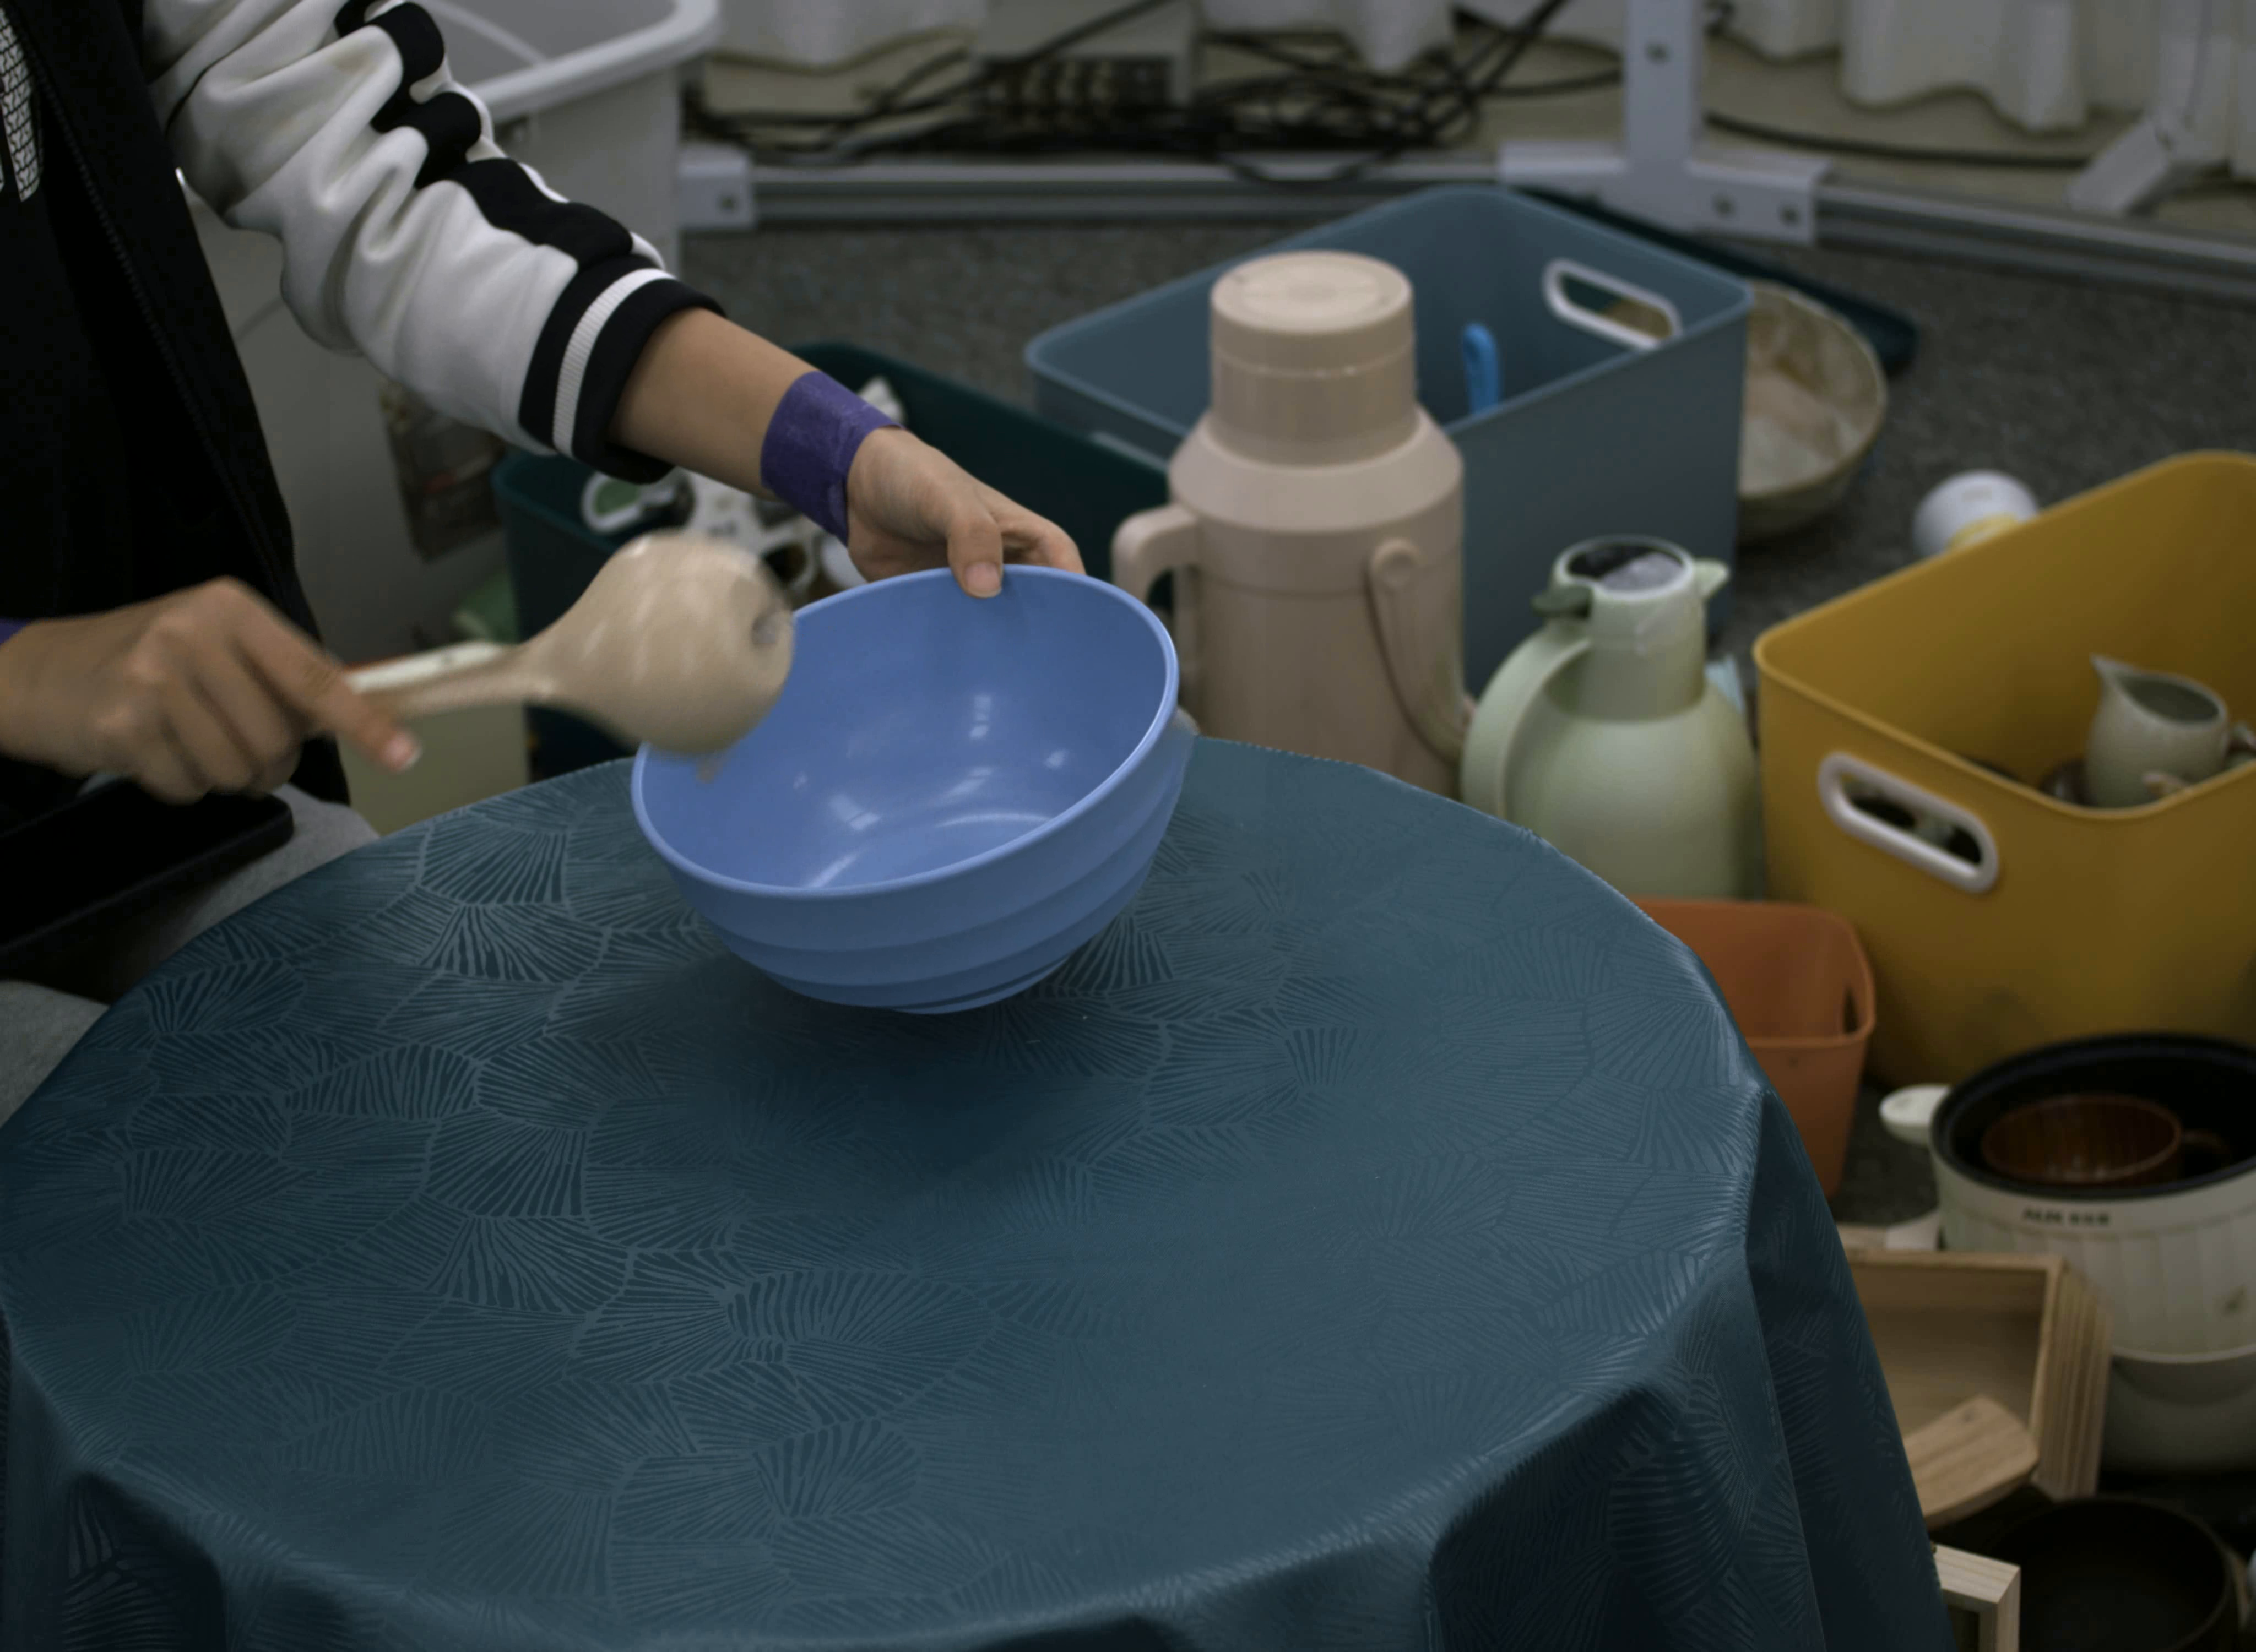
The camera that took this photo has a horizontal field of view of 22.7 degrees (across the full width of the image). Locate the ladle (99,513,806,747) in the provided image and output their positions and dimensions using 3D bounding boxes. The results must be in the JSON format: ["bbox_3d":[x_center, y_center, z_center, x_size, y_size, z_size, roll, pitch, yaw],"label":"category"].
[{"bbox_3d":[-0.219,-0.052,1.848,0.251,0.072,0.073,-8,-1,31],"label":"ladle"}]

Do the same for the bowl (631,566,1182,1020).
[{"bbox_3d":[-0.067,0.003,1.967,0.195,0.094,0.200,-10,34,7],"label":"bowl"}]
